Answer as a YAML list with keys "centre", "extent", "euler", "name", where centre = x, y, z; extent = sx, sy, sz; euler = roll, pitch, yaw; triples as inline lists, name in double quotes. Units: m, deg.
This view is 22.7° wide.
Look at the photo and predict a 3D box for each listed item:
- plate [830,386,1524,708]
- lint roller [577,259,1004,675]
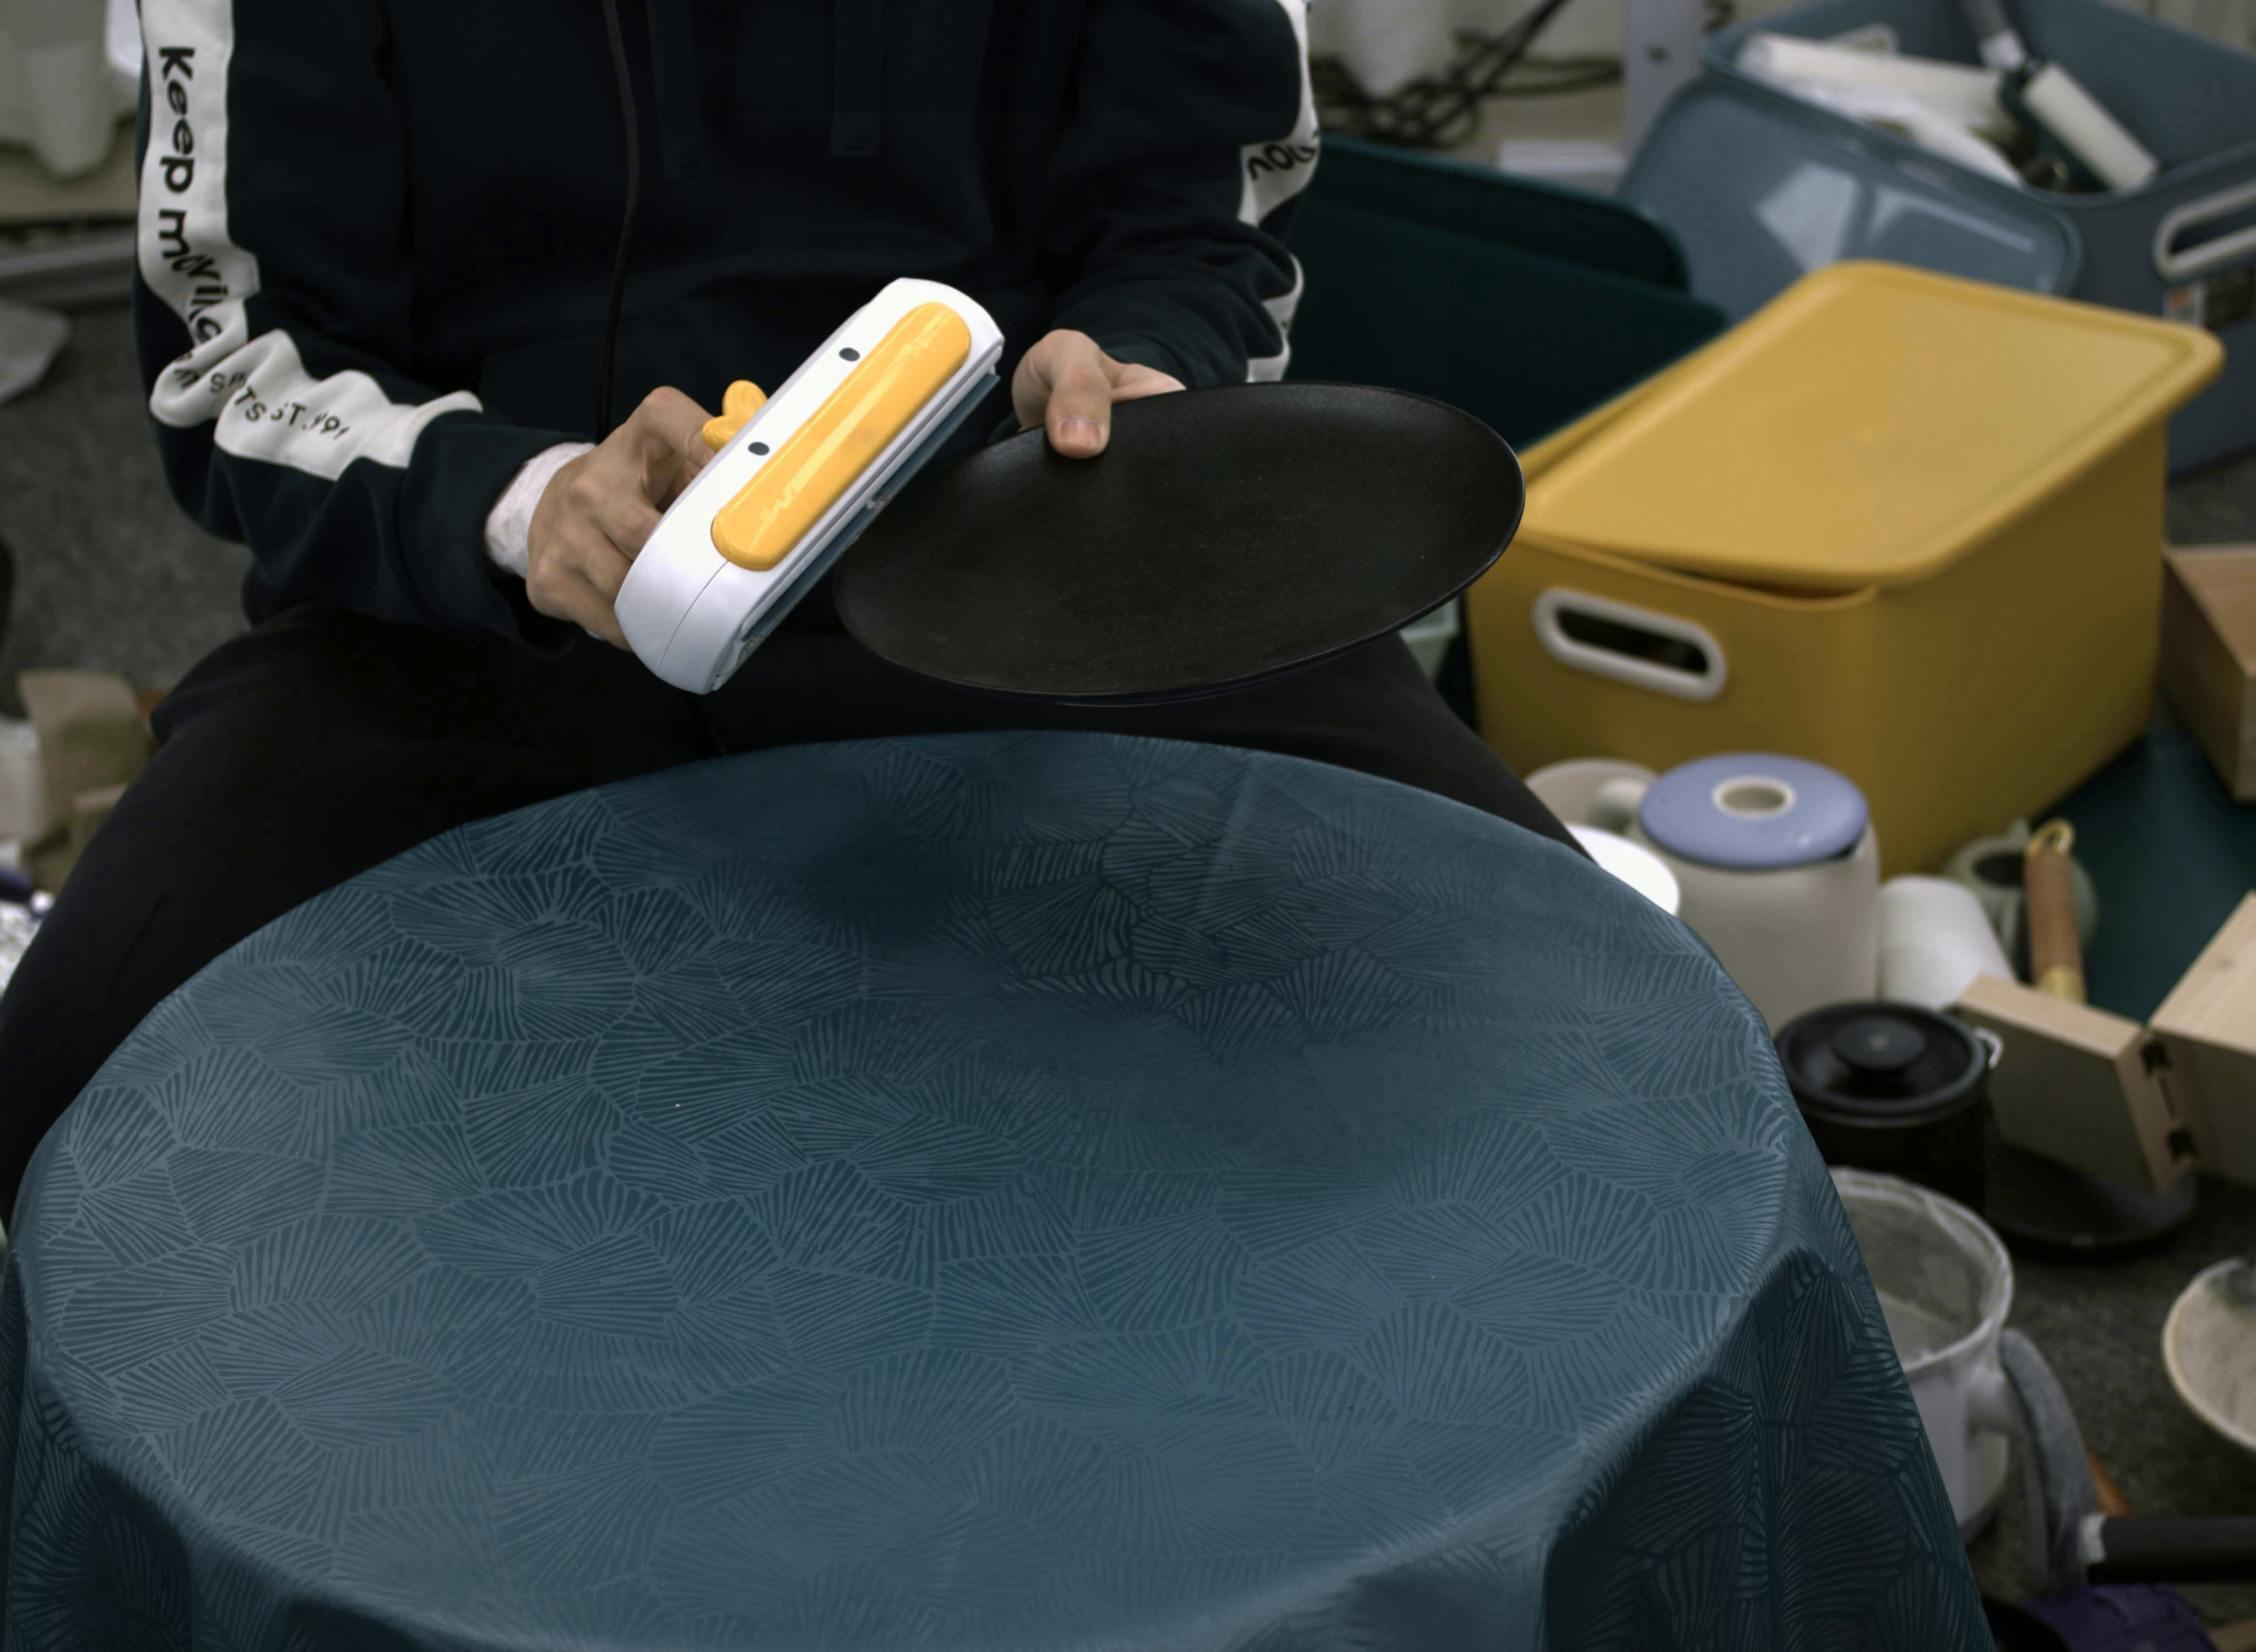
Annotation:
- centre: [0.018, -0.093, 1.953]
  extent: [0.243, 0.023, 0.248]
  euler: [-7, 27, 4]
  name: "plate"
- centre: [-0.139, -0.104, 2.036]
  extent: [0.074, 0.189, 0.196]
  euler: [37, 49, -5]
  name: "lint roller"
